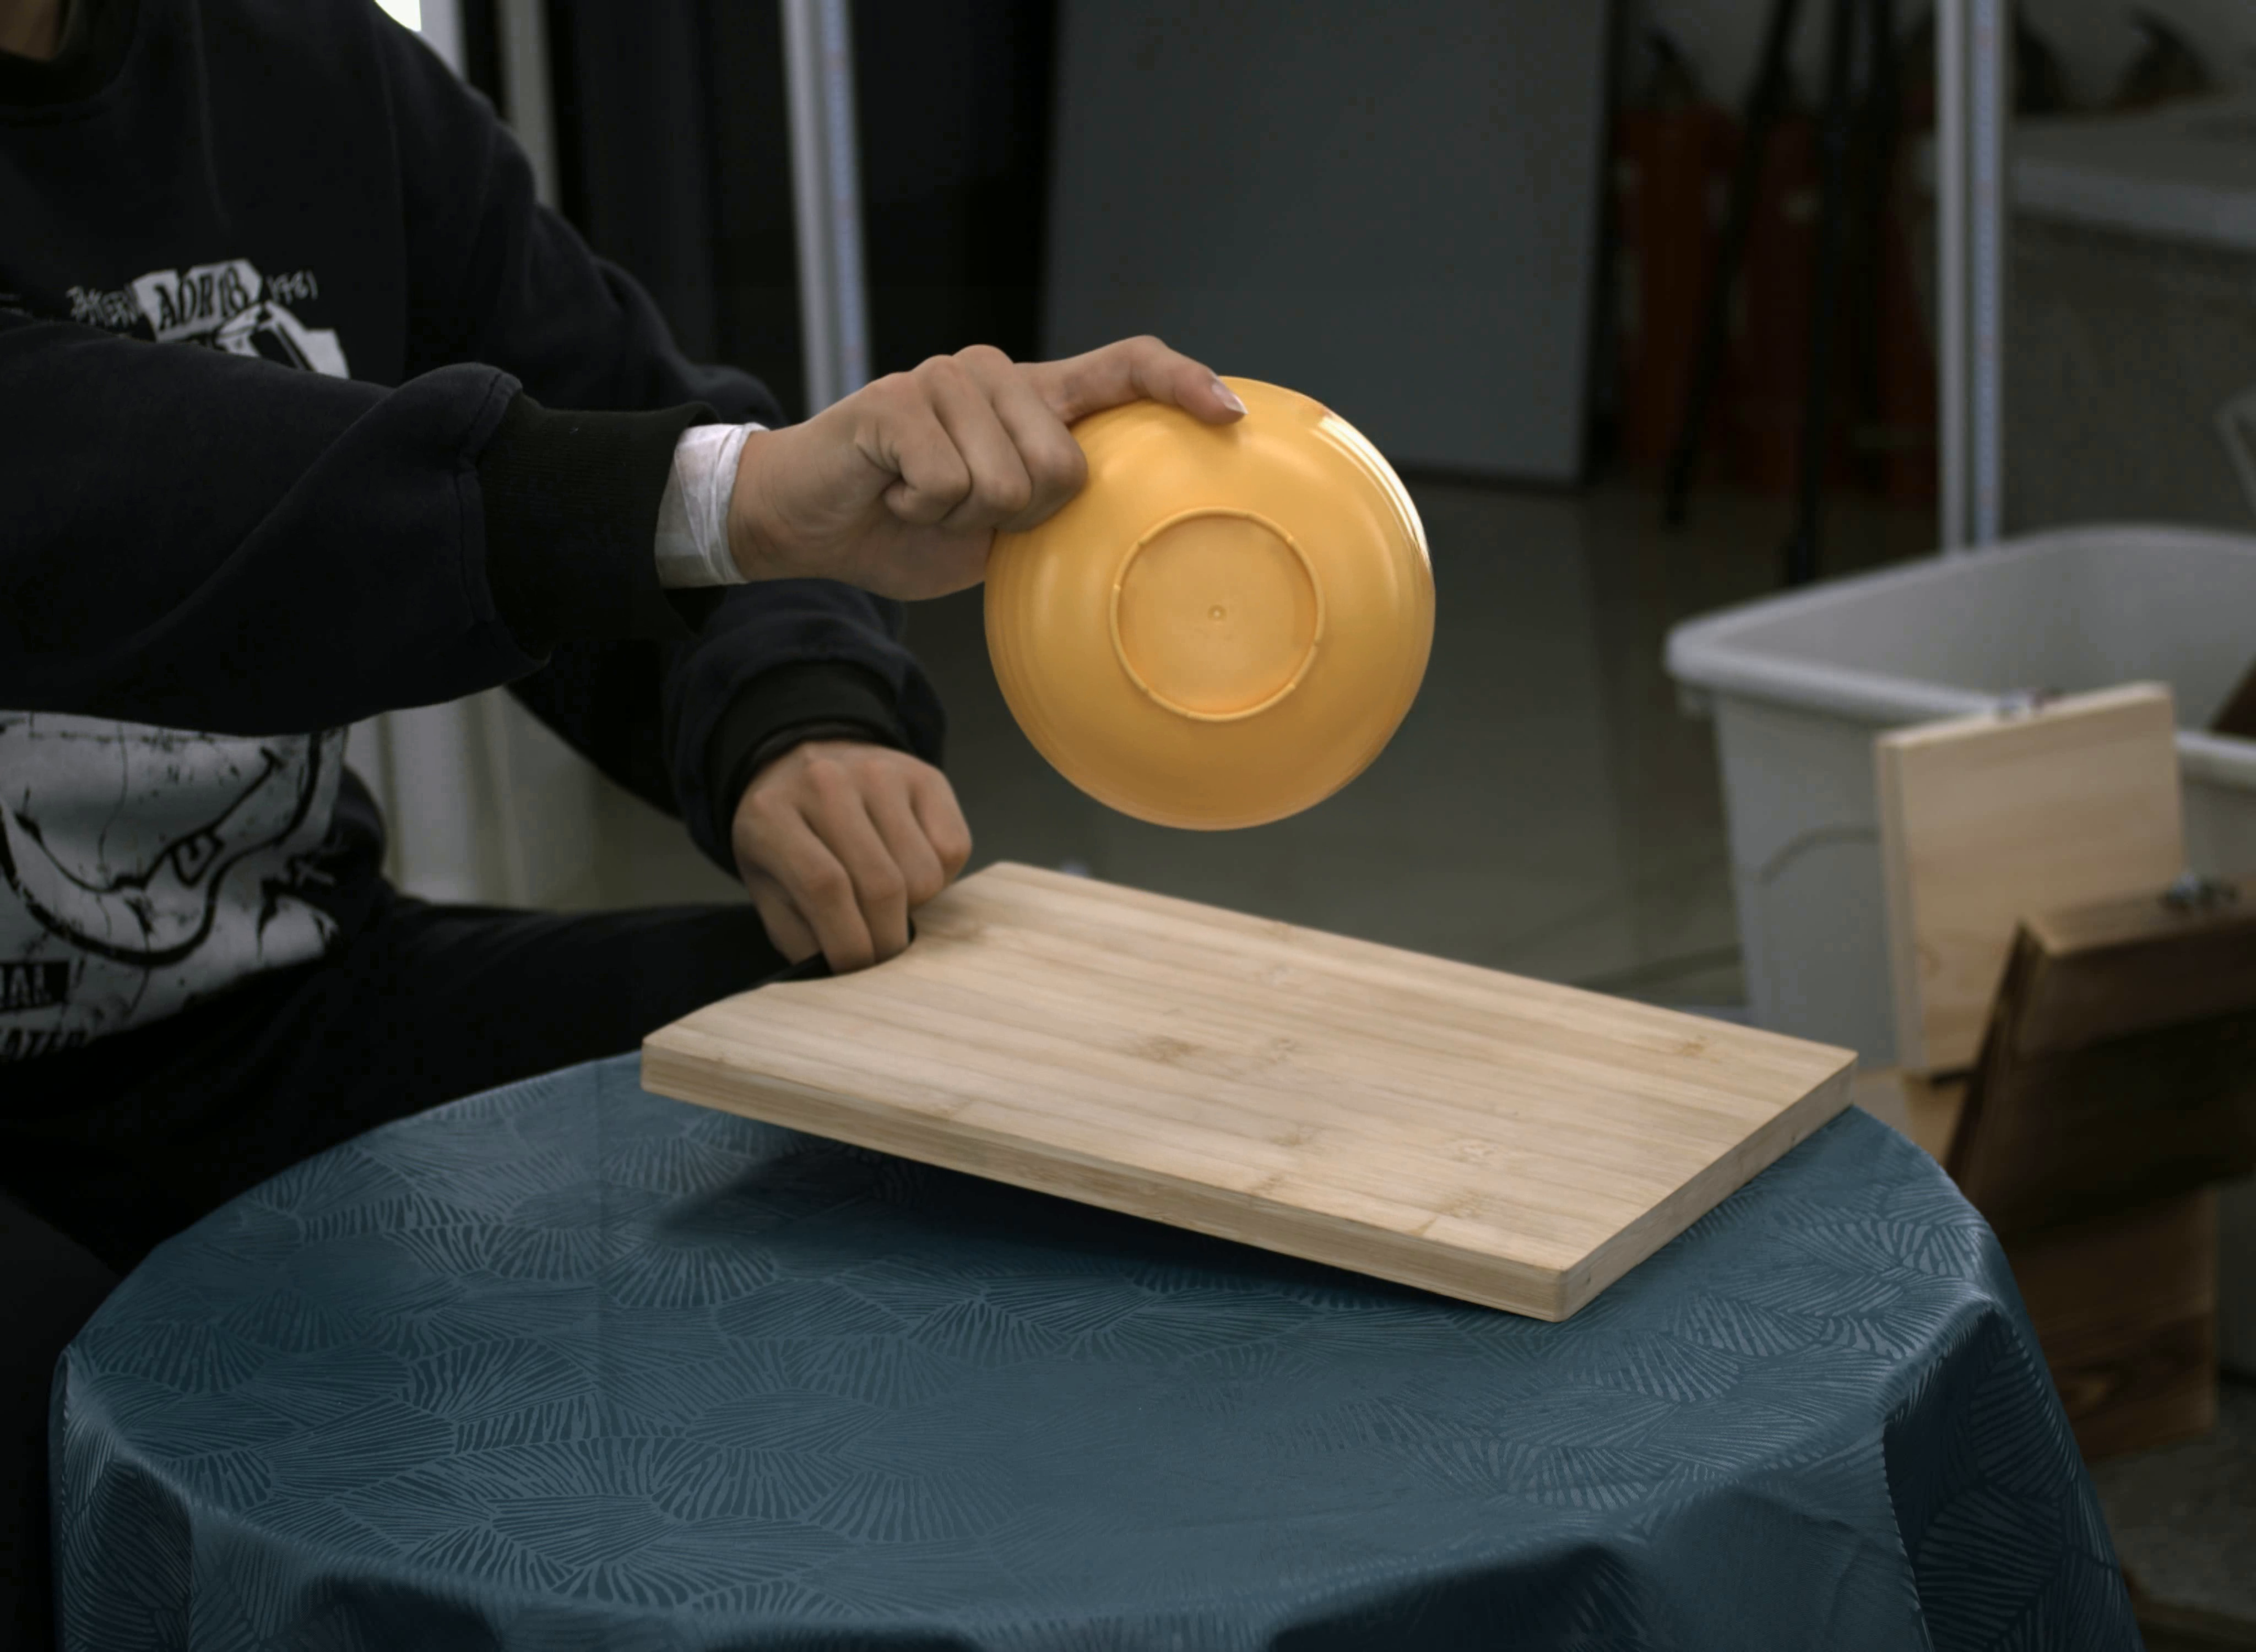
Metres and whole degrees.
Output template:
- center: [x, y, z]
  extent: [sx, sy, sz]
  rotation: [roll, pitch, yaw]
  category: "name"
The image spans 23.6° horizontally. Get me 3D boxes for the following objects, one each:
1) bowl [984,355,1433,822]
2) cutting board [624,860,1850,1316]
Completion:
- center: [0.028, -0.073, 1.669]
  extent: [0.143, 0.147, 0.060]
  rotation: [-4, 3, -2]
  category: "bowl"
- center: [0.038, 0.082, 1.799]
  extent: [0.350, 0.024, 0.247]
  rotation: [11, 20, 27]
  category: "cutting board"
